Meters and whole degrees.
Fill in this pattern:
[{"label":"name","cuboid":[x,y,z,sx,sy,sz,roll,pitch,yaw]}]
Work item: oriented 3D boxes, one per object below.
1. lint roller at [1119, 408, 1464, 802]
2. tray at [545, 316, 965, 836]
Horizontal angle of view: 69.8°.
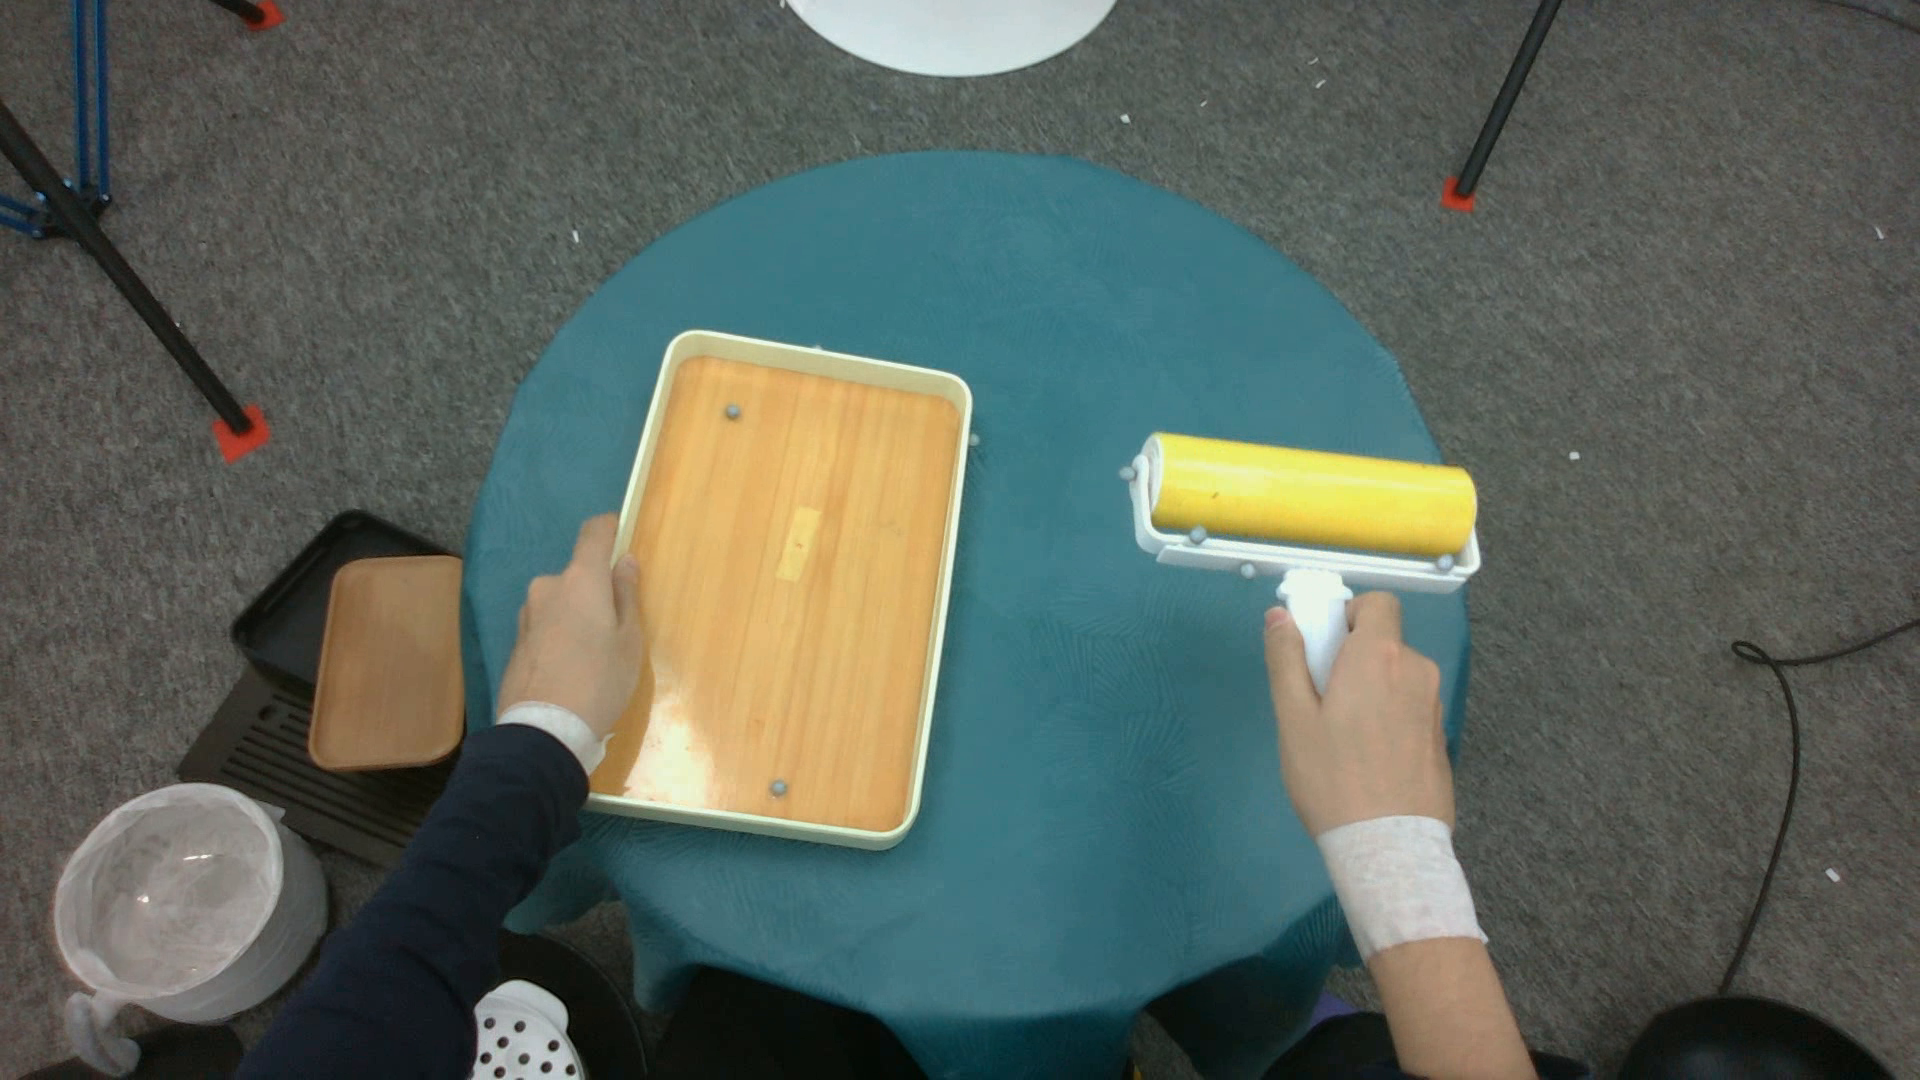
[{"label":"lint roller","cuboid":[0.168,0.024,0.641,0.174,0.051,0.193,5,51,-13]},{"label":"tray","cuboid":[-0.107,0.010,0.788,0.191,0.027,0.301,9,61,-3]}]
